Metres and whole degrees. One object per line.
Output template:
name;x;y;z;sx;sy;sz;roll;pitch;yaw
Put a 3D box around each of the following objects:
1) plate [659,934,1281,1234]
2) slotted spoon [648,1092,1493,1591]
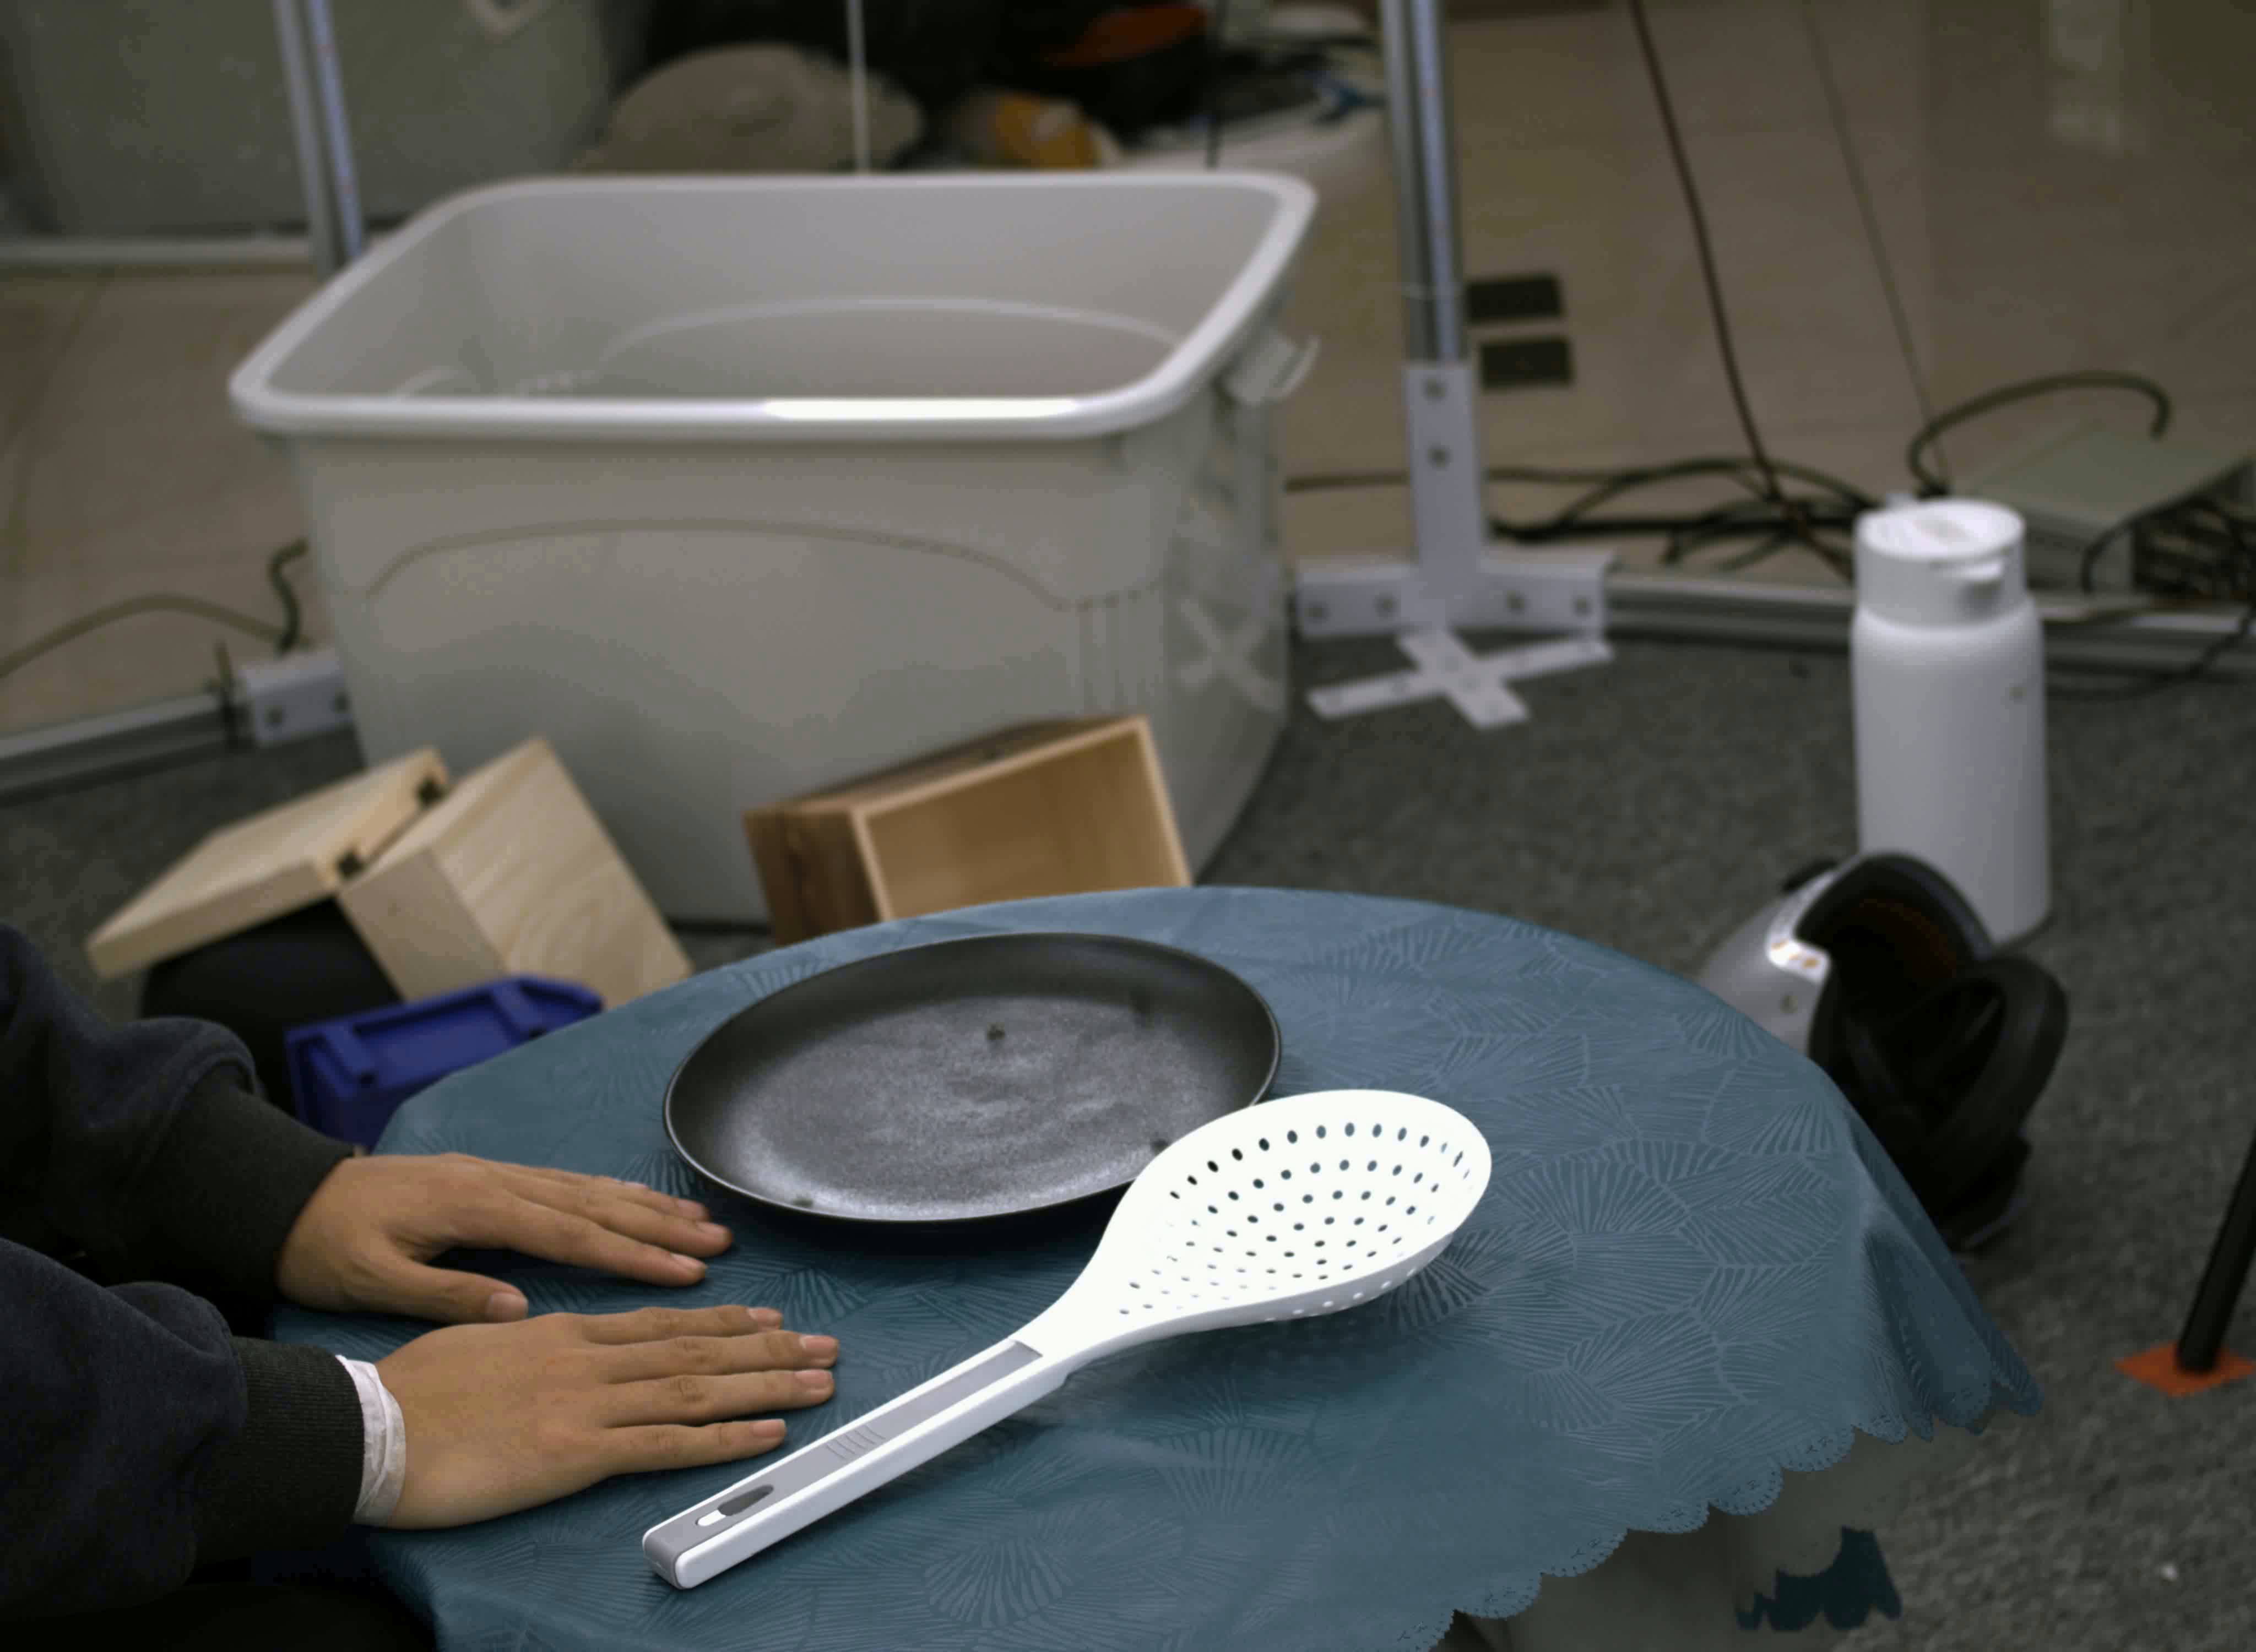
plate;-0.060;0.105;2.208;0.244;0.024;0.241;-5;25;3
slotted spoon;-0.019;0.182;2.005;0.347;0.046;0.135;-23;27;-29
